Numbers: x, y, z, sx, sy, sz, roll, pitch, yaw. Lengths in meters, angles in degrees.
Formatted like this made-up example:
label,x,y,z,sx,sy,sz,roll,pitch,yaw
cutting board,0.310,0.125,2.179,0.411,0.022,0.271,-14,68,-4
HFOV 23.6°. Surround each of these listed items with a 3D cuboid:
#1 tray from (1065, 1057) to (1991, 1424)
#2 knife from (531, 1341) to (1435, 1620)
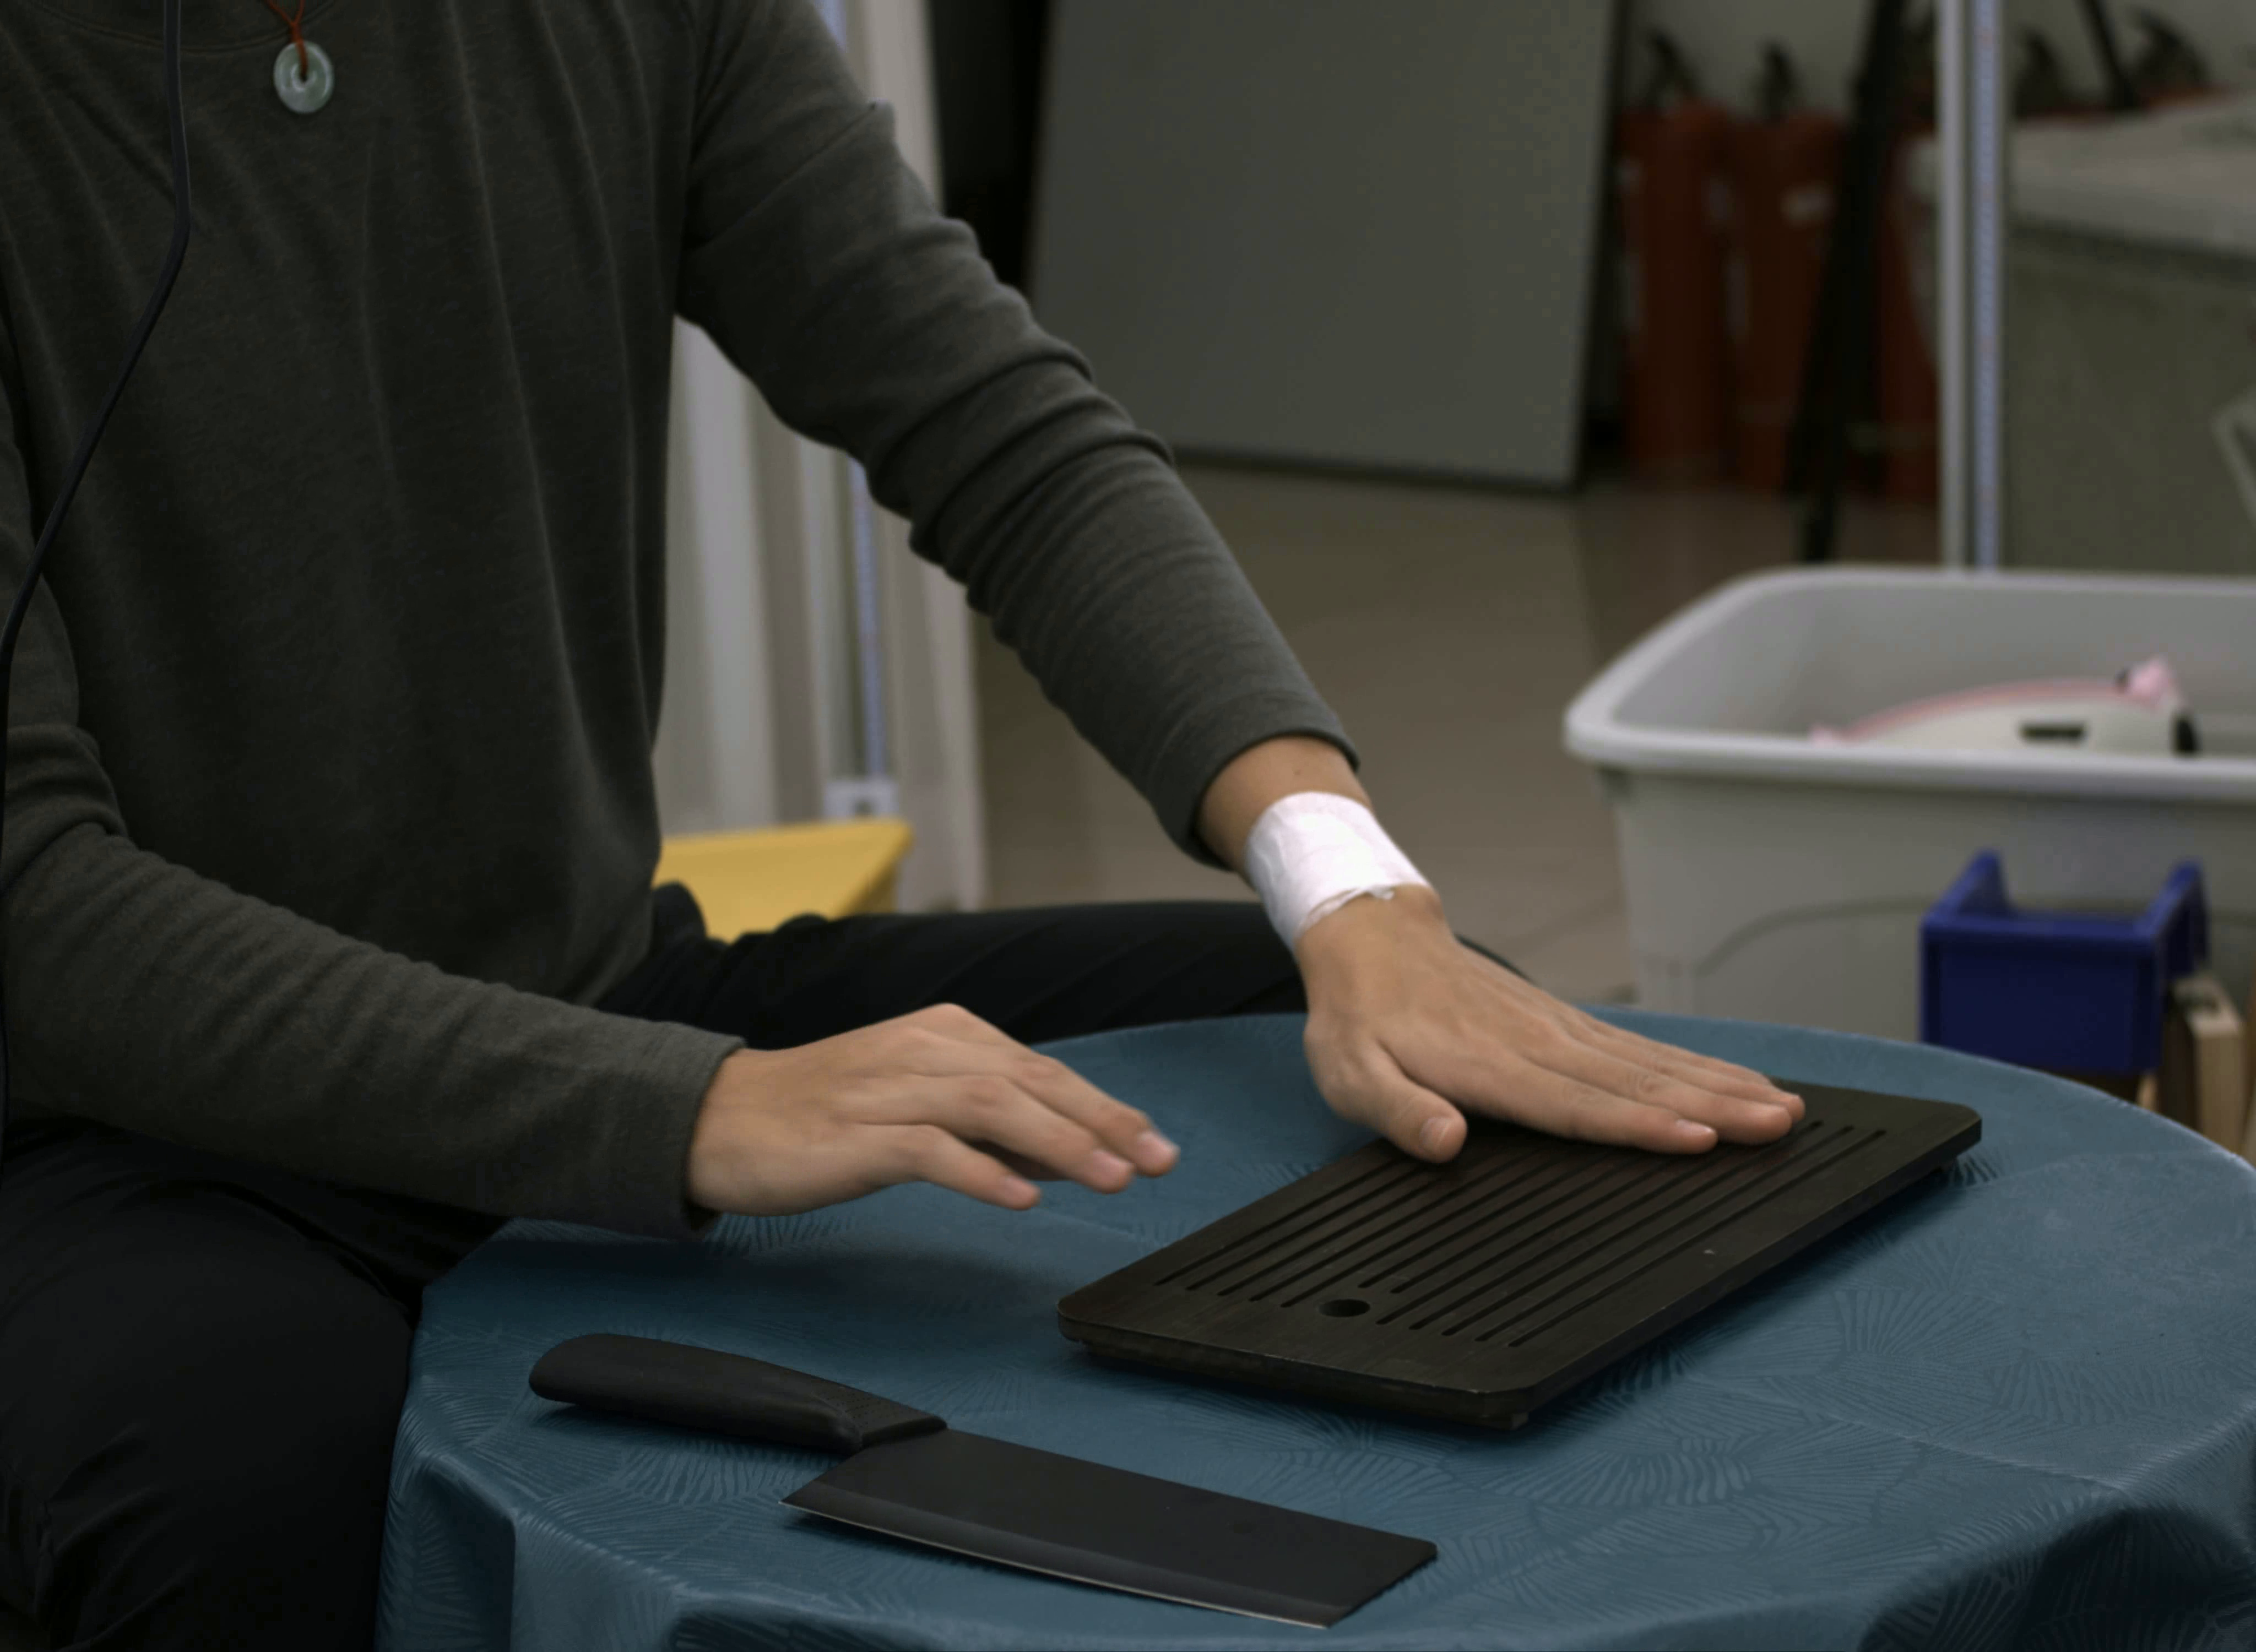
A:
label,x,y,z,sx,sy,sz,roll,pitch,yaw
tray,0.130,0.126,1.677,0.171,0.019,0.300,5,16,36
knife,-0.052,0.182,1.509,0.304,0.021,0.079,10,20,39
